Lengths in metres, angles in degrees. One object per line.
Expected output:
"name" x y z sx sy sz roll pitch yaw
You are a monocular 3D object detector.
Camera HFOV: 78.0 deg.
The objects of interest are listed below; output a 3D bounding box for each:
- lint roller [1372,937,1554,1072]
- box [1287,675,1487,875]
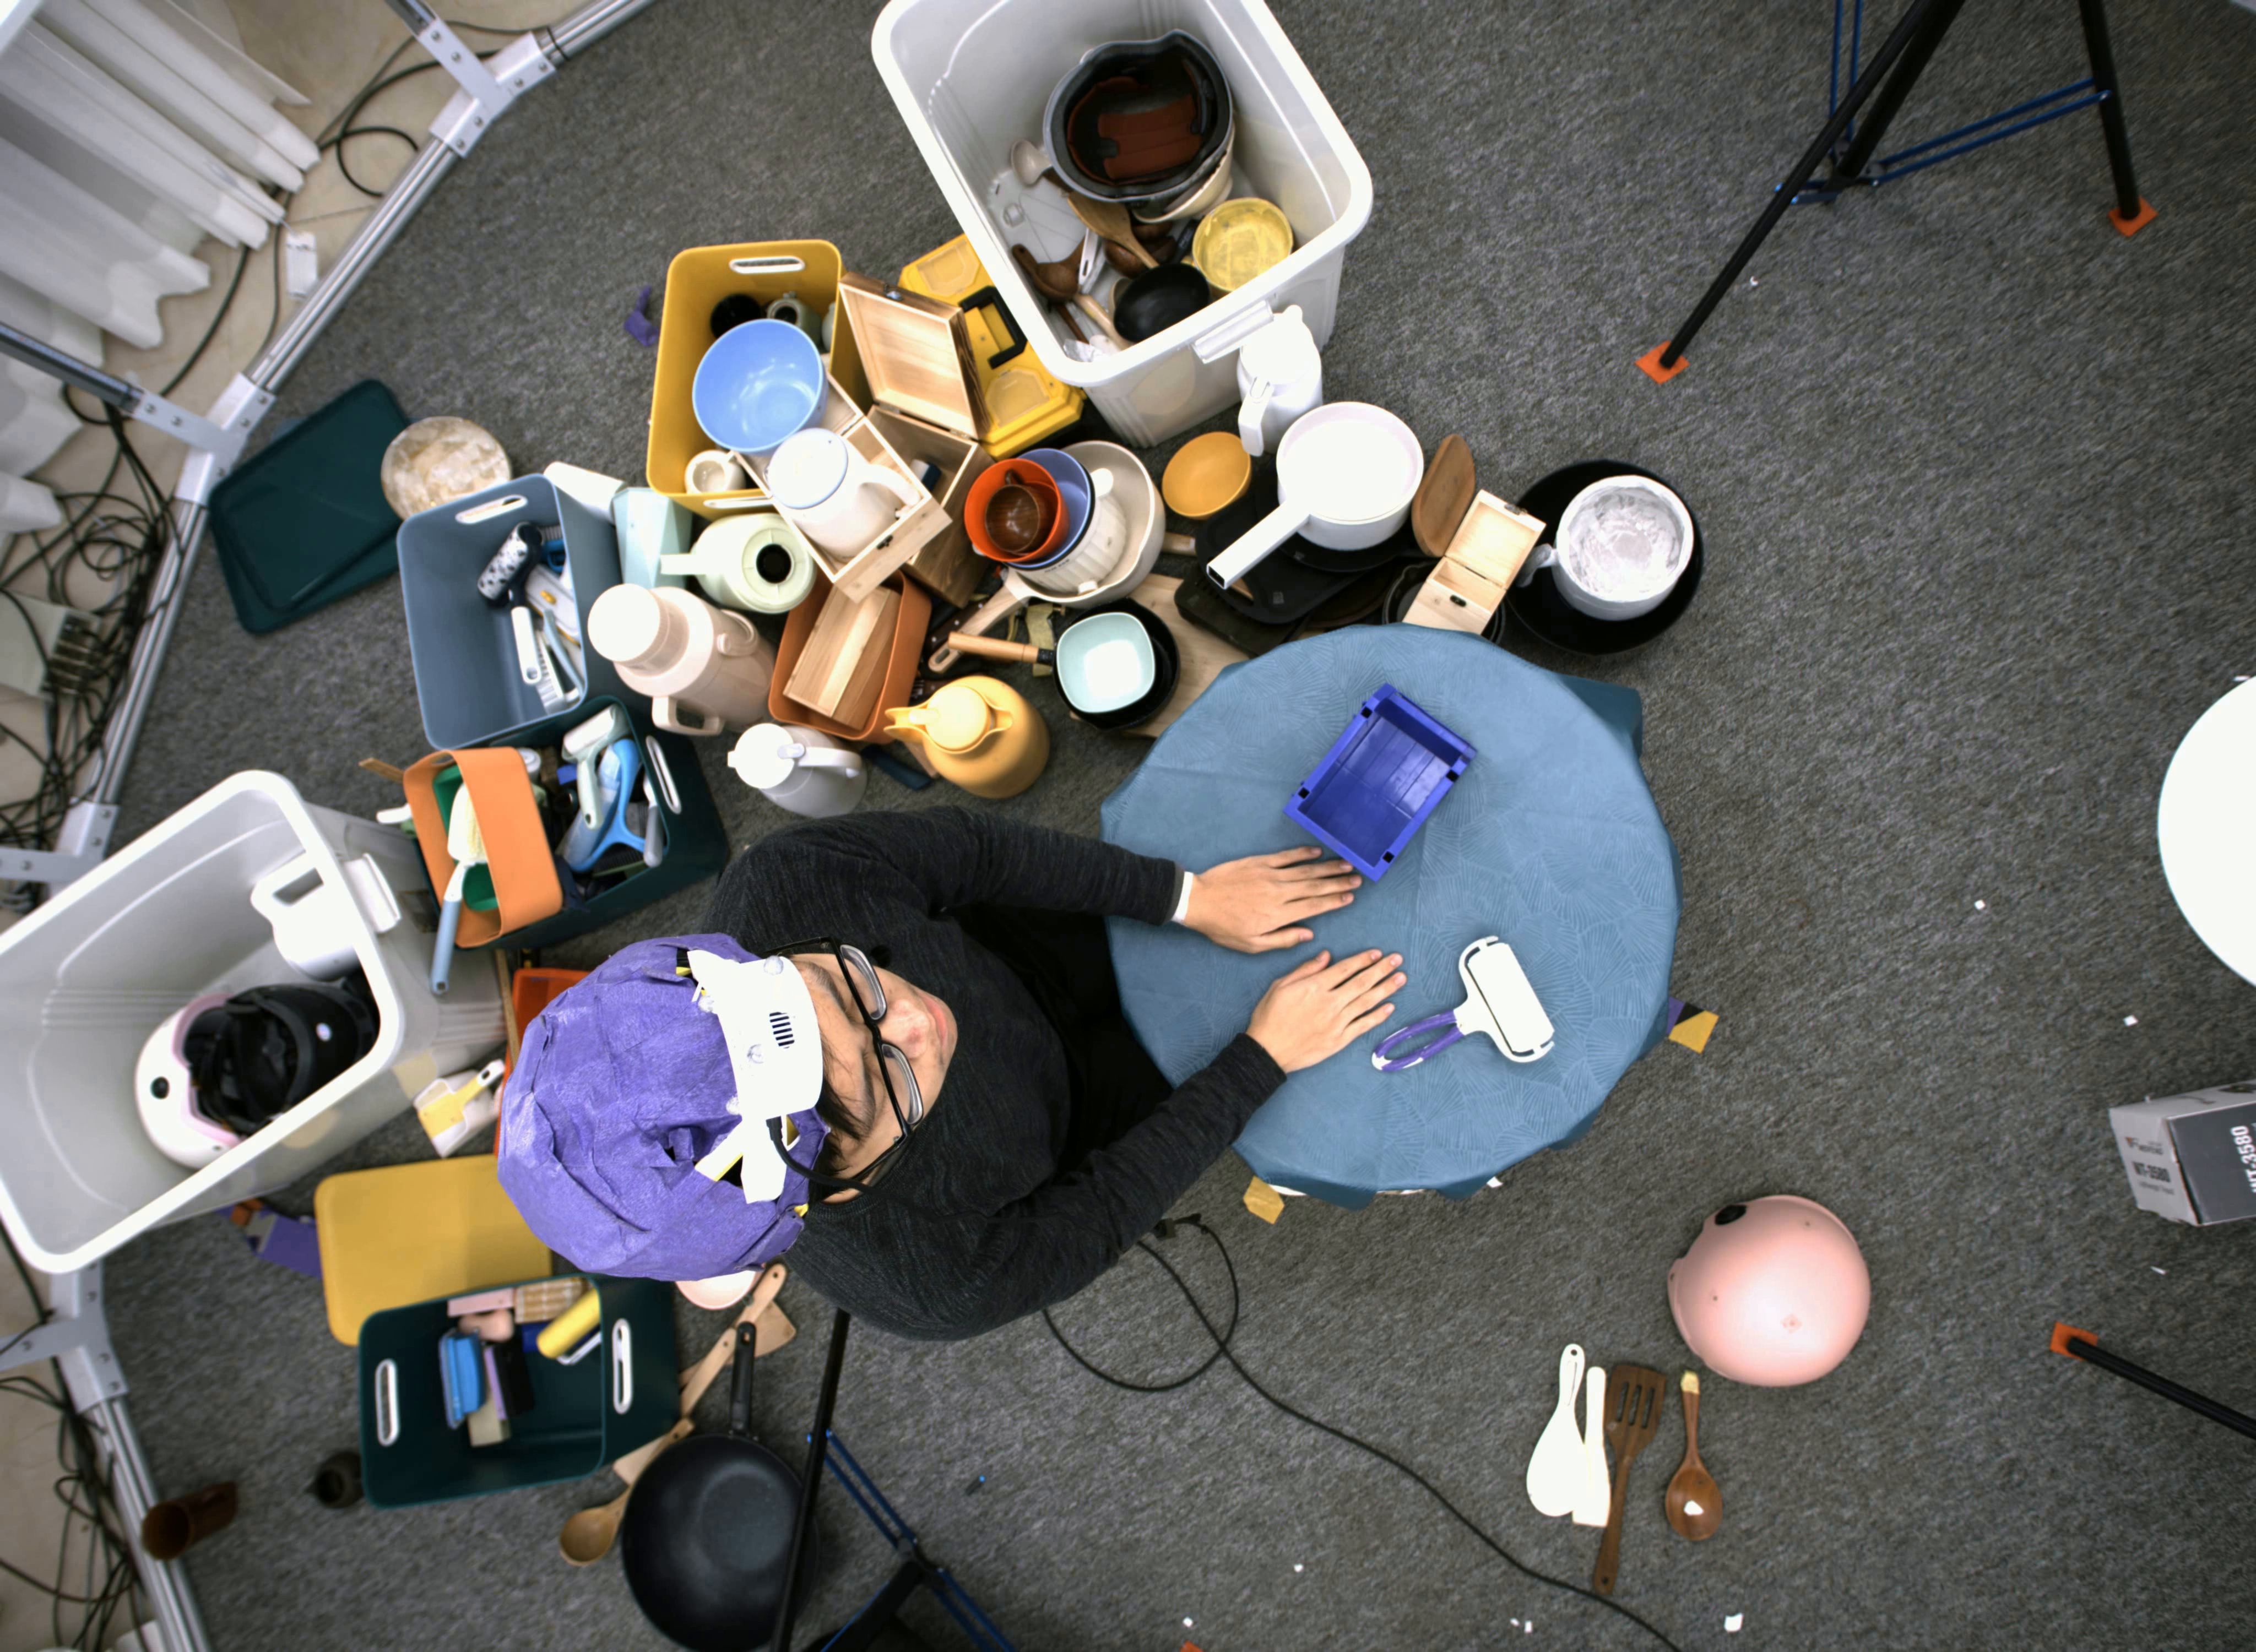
"lint roller" 0.332 0.202 1.417 0.181 0.050 0.132 -26 83 6
"box" 0.267 -0.057 1.427 0.124 0.082 0.180 39 97 11
